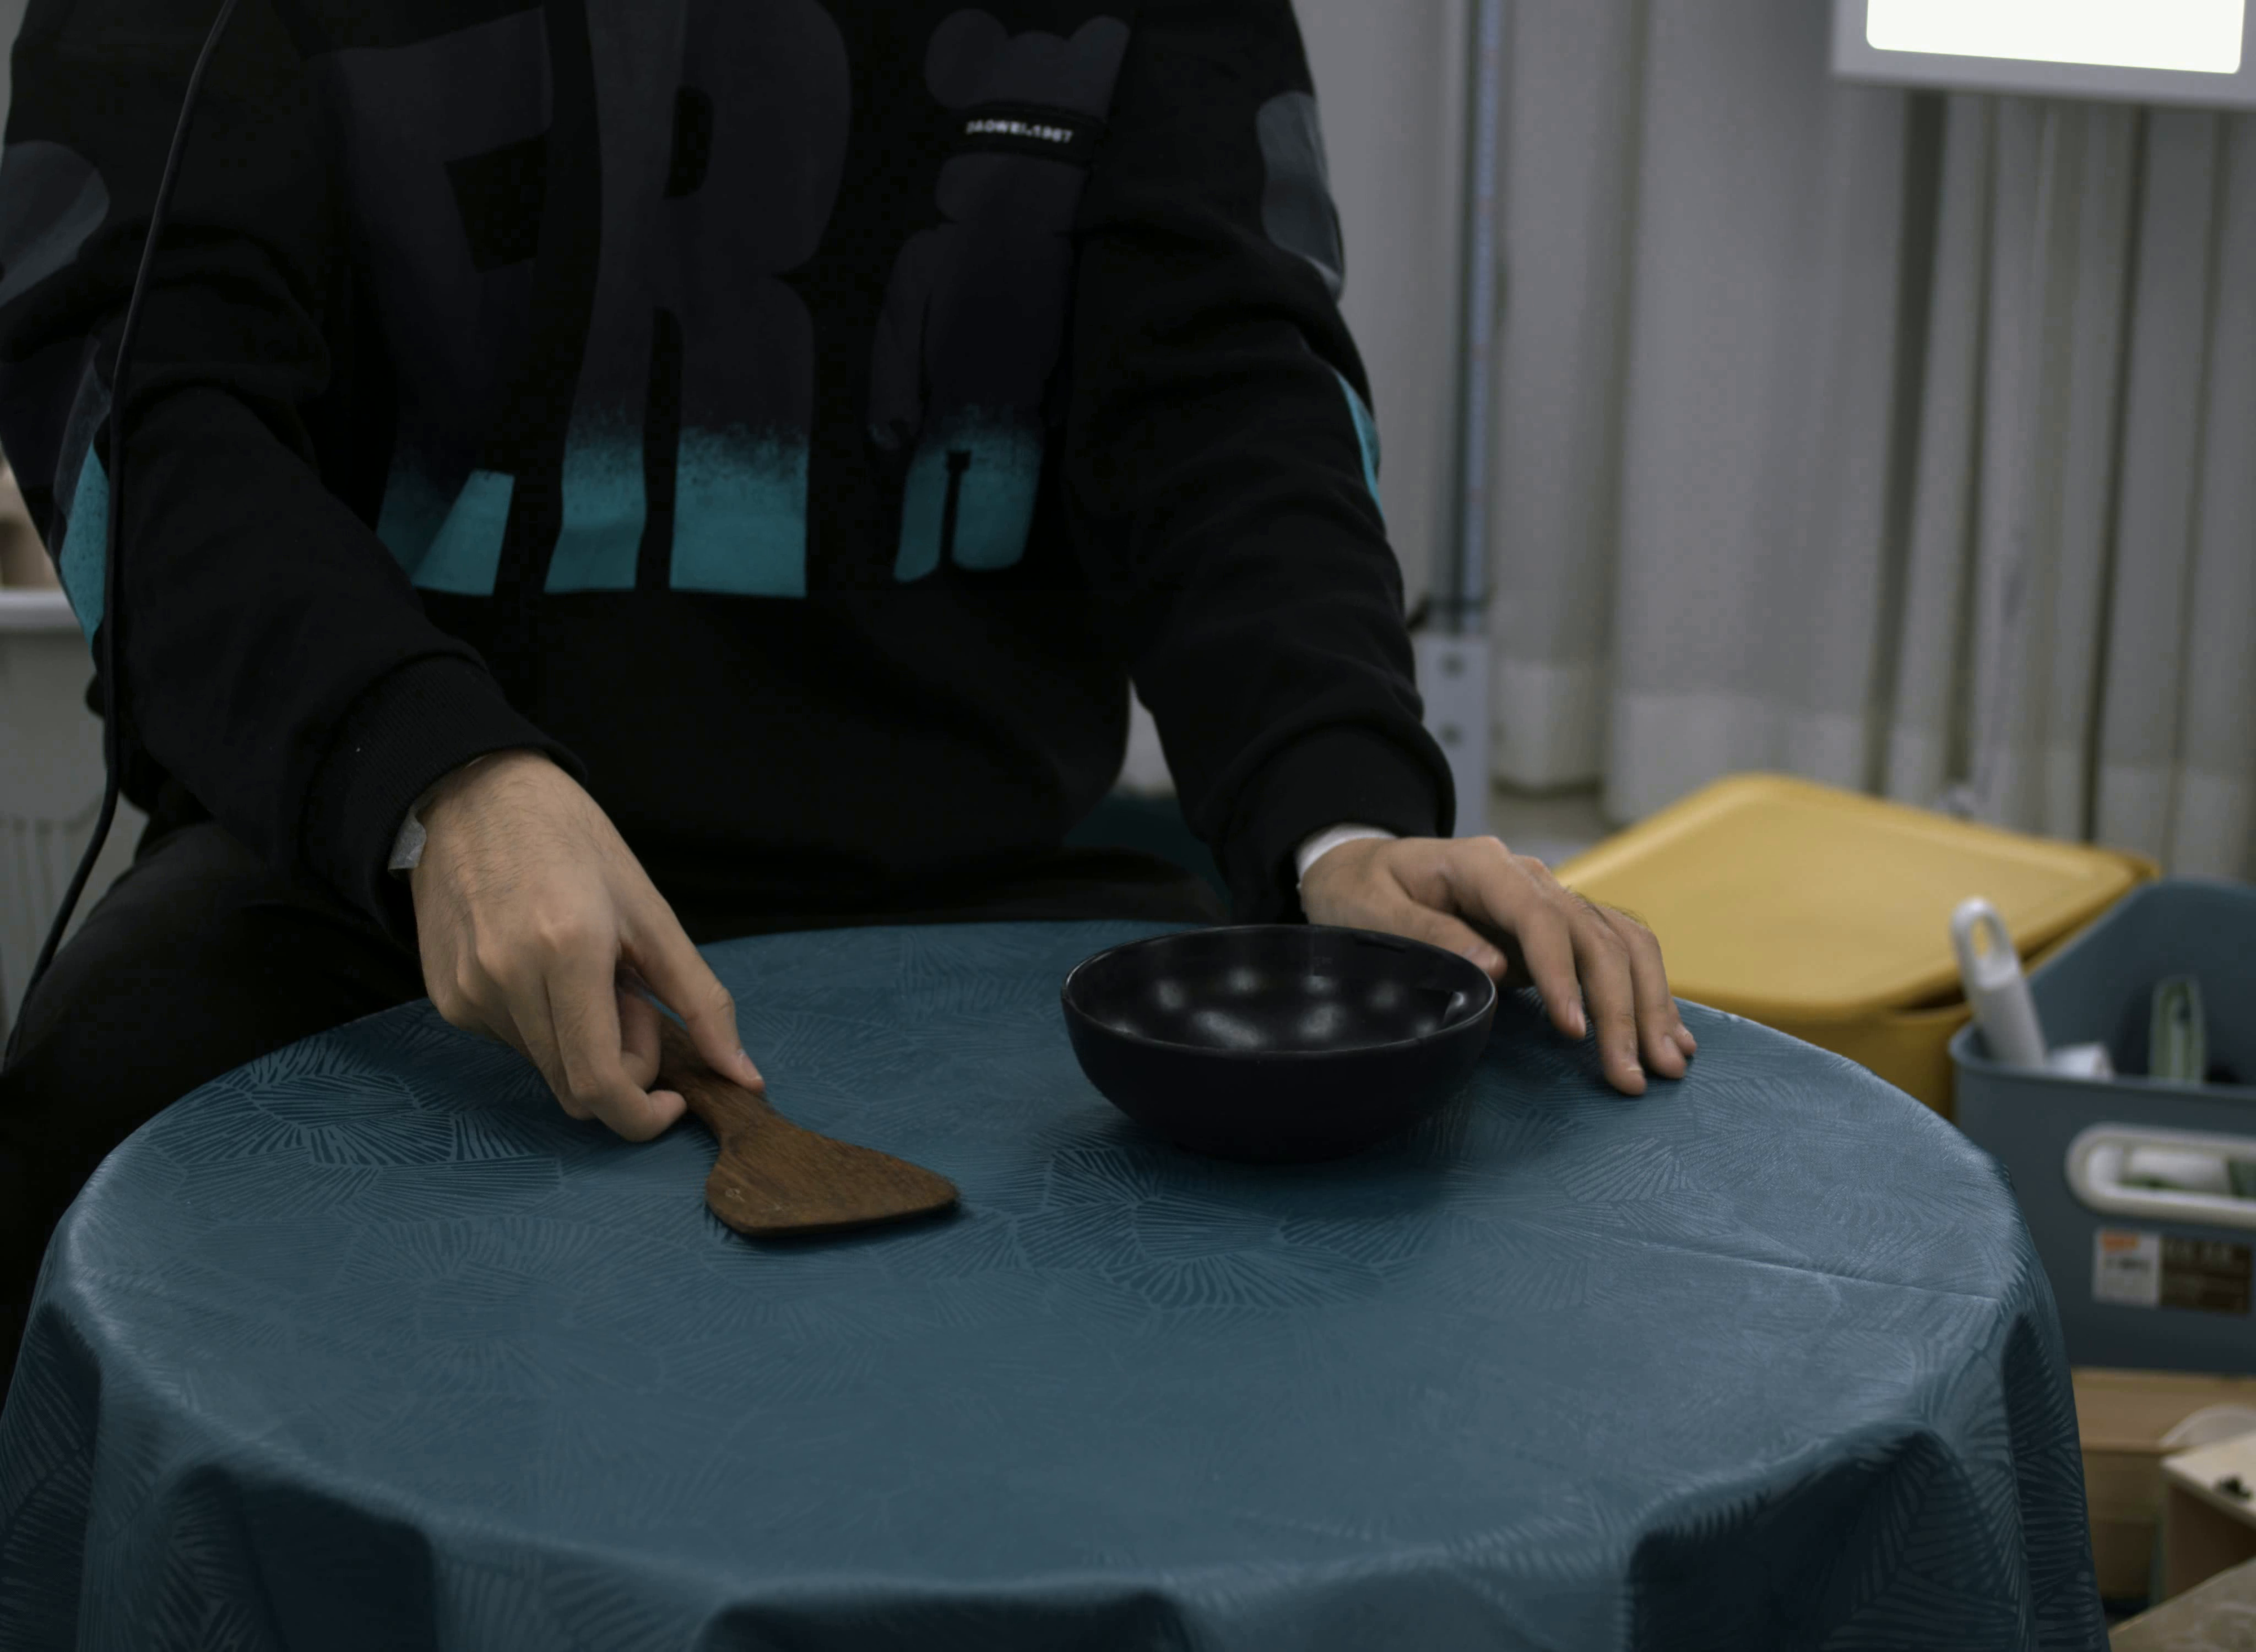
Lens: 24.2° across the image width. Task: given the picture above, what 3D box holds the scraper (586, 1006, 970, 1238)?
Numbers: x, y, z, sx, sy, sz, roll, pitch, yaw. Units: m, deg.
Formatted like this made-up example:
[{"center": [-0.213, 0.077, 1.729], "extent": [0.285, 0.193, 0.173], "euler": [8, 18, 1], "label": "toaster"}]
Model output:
[{"center": [-0.123, 0.092, 1.669], "extent": [0.076, 0.011, 0.208], "euler": [-7, 20, -26], "label": "scraper"}]

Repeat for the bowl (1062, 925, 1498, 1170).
[{"center": [0.049, 0.075, 1.676], "extent": [0.139, 0.050, 0.139], "euler": [-2, 16, 1], "label": "bowl"}]
